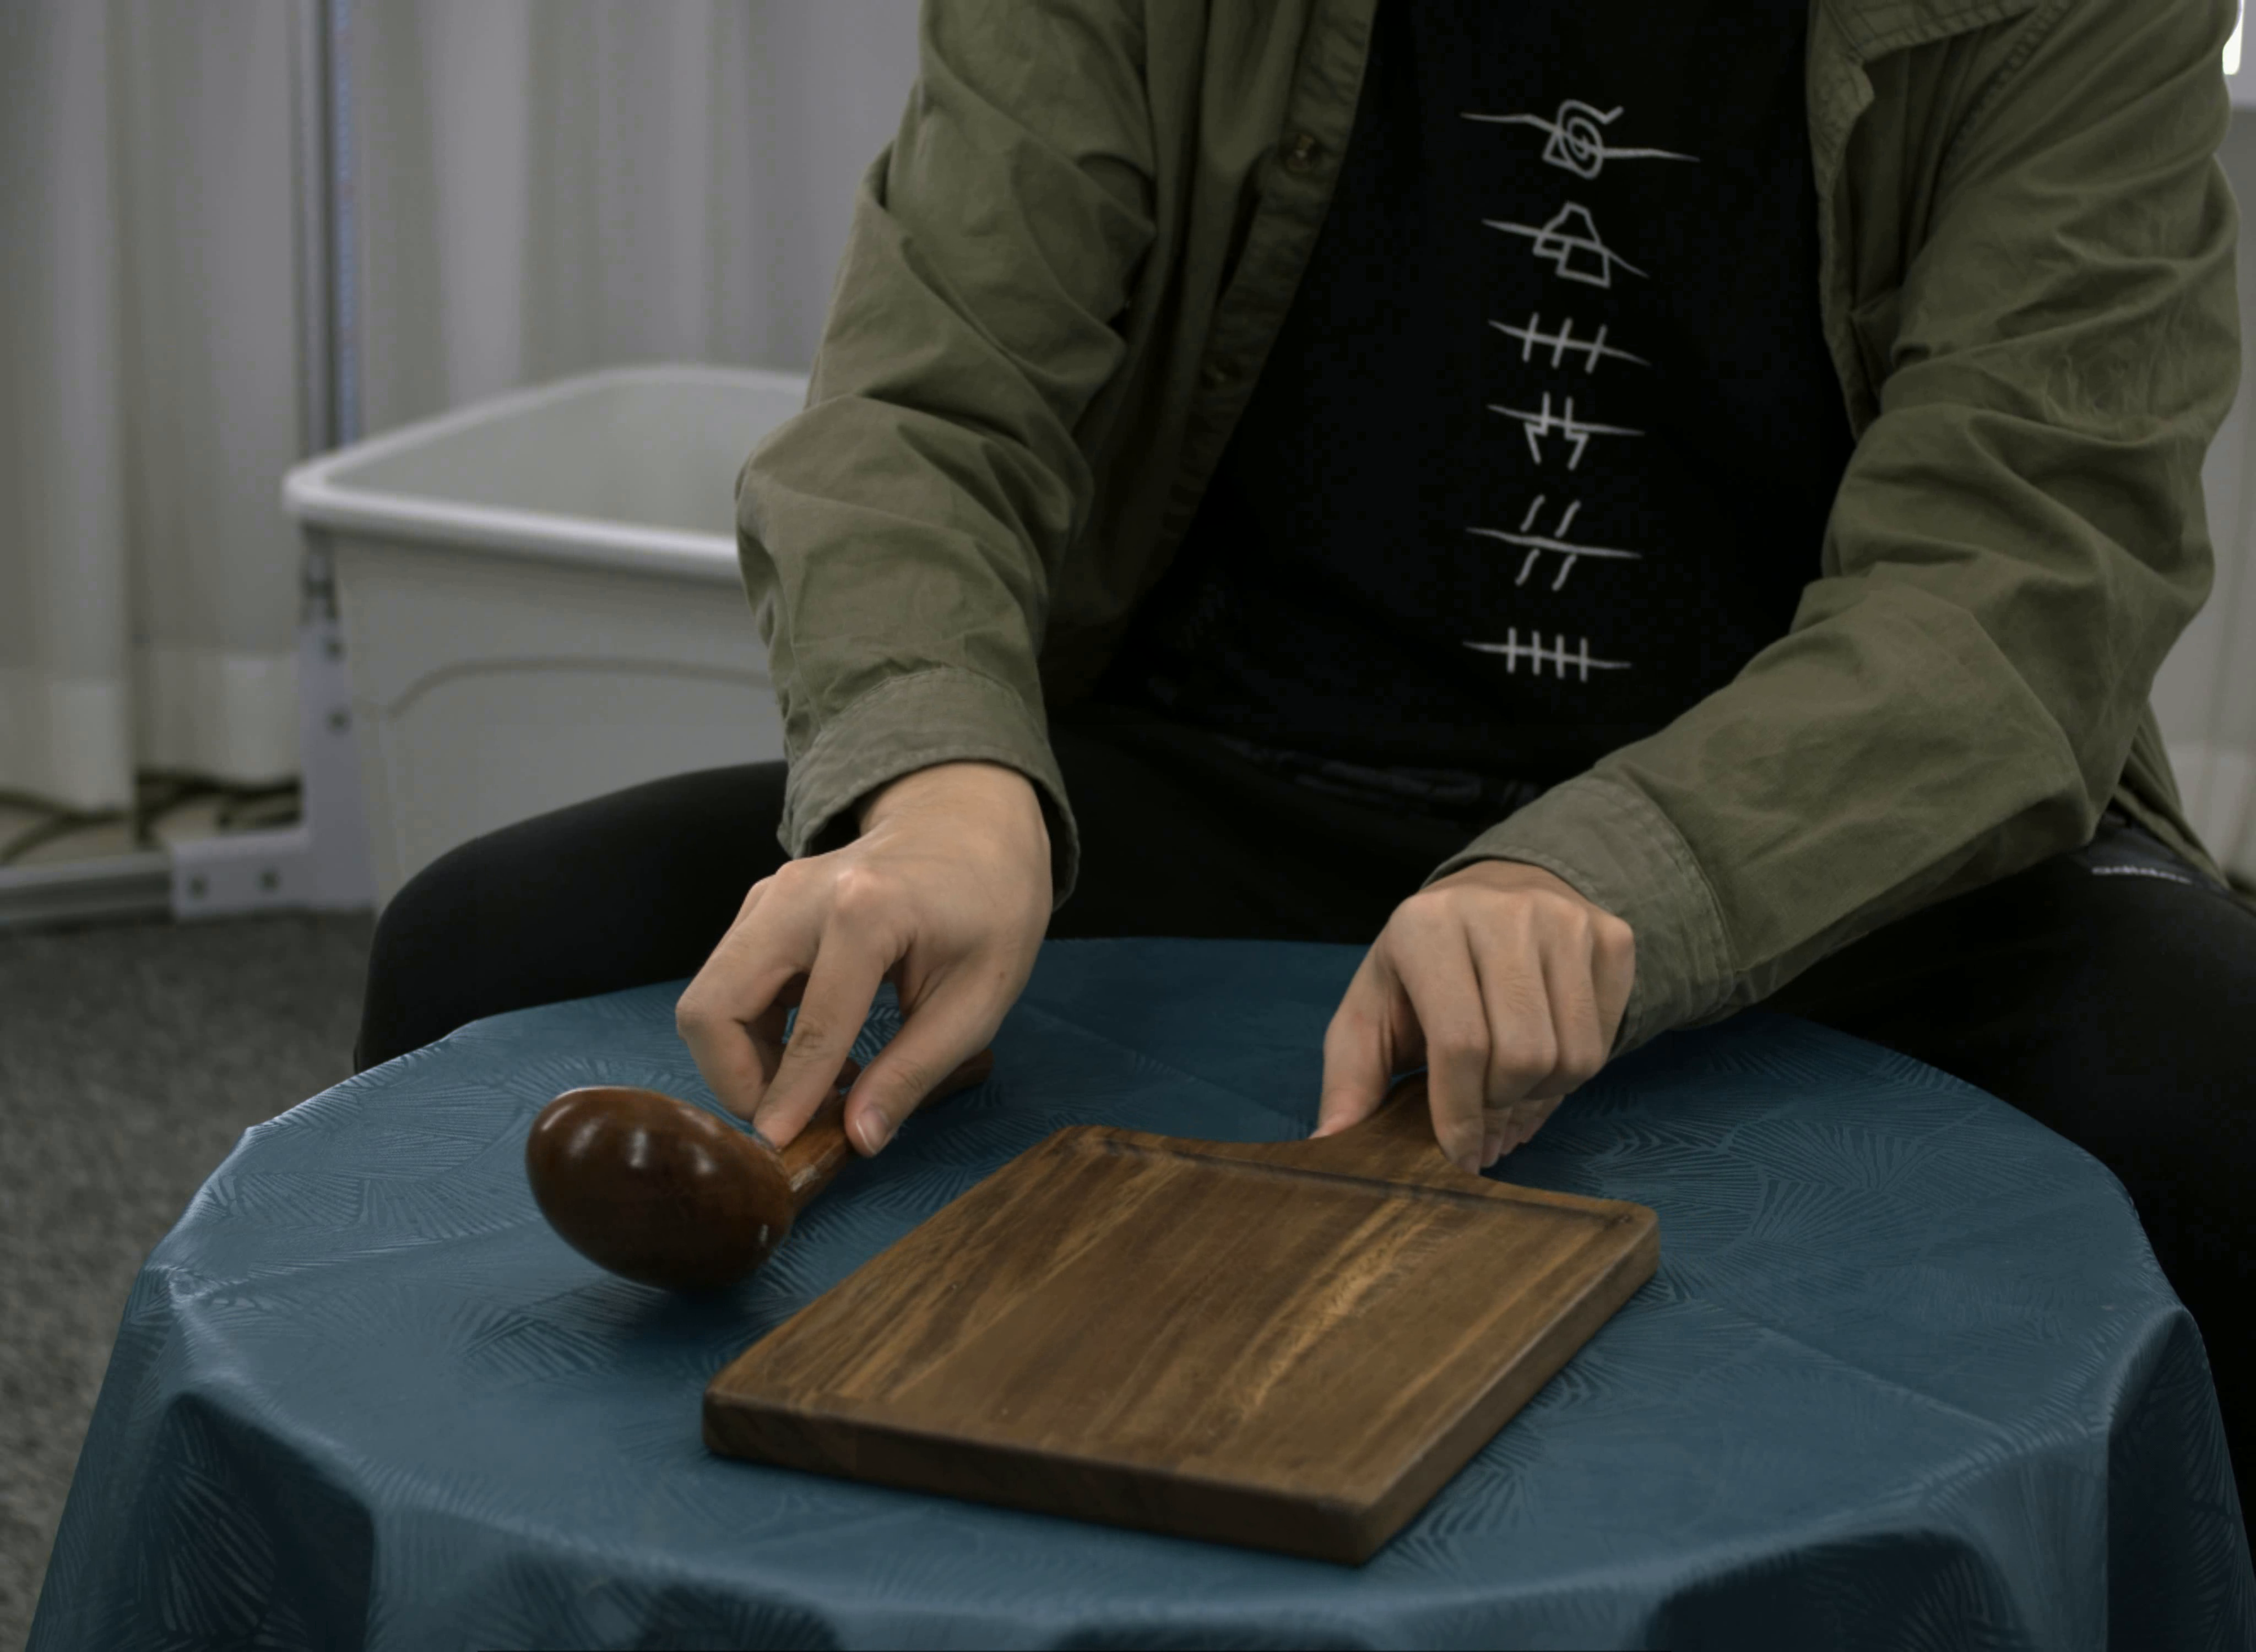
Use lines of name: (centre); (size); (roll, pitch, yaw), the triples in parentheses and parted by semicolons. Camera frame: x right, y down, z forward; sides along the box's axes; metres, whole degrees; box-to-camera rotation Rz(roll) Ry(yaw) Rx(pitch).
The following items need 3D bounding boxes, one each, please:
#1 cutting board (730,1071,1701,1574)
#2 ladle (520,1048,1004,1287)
cutting board: (0.052, 0.130, 1.526); (0.199, 0.023, 0.353); (8, 17, 24)
ladle: (-0.099, 0.078, 1.606); (0.081, 0.077, 0.274); (14, 18, 18)
